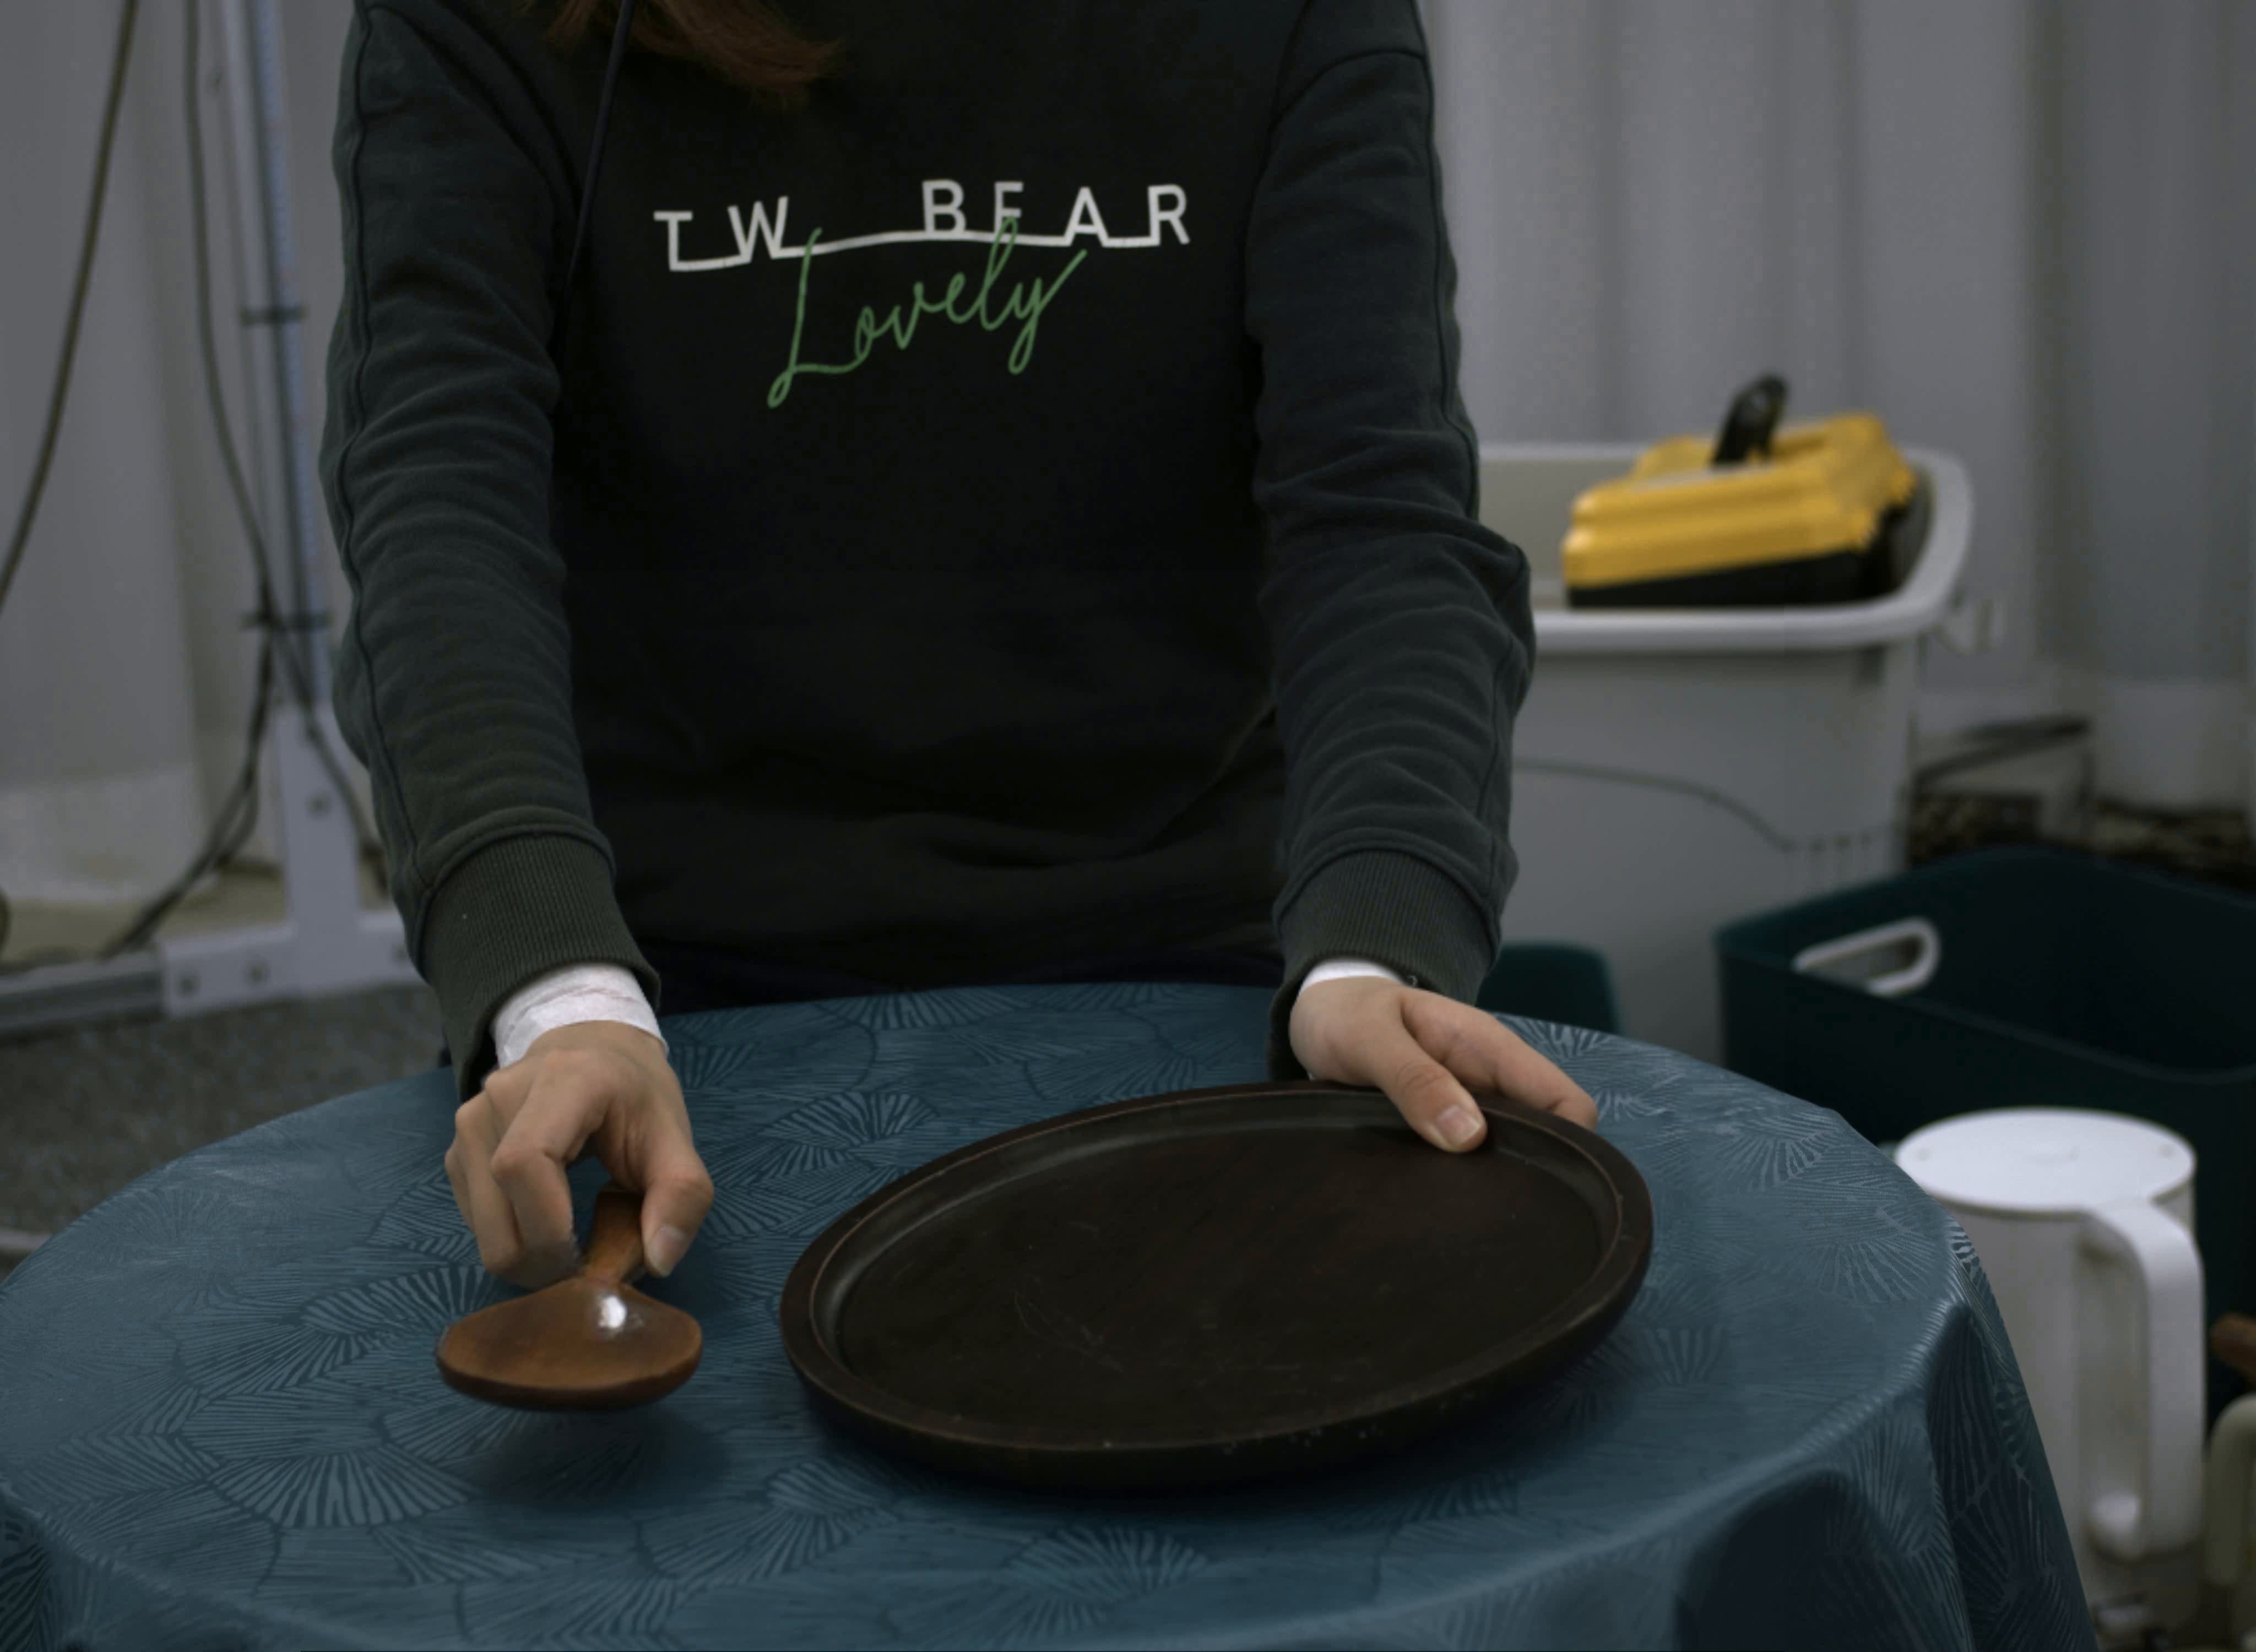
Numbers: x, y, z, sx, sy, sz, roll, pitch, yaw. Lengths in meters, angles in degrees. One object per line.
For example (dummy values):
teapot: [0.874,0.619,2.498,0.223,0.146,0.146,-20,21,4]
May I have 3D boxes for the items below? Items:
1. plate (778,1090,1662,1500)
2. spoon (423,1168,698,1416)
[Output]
plate: [0.026,0.131,1.560,0.254,0.029,0.257,-6,20,2]
spoon: [-0.155,0.135,1.572,0.075,0.017,0.217,0,12,1]
